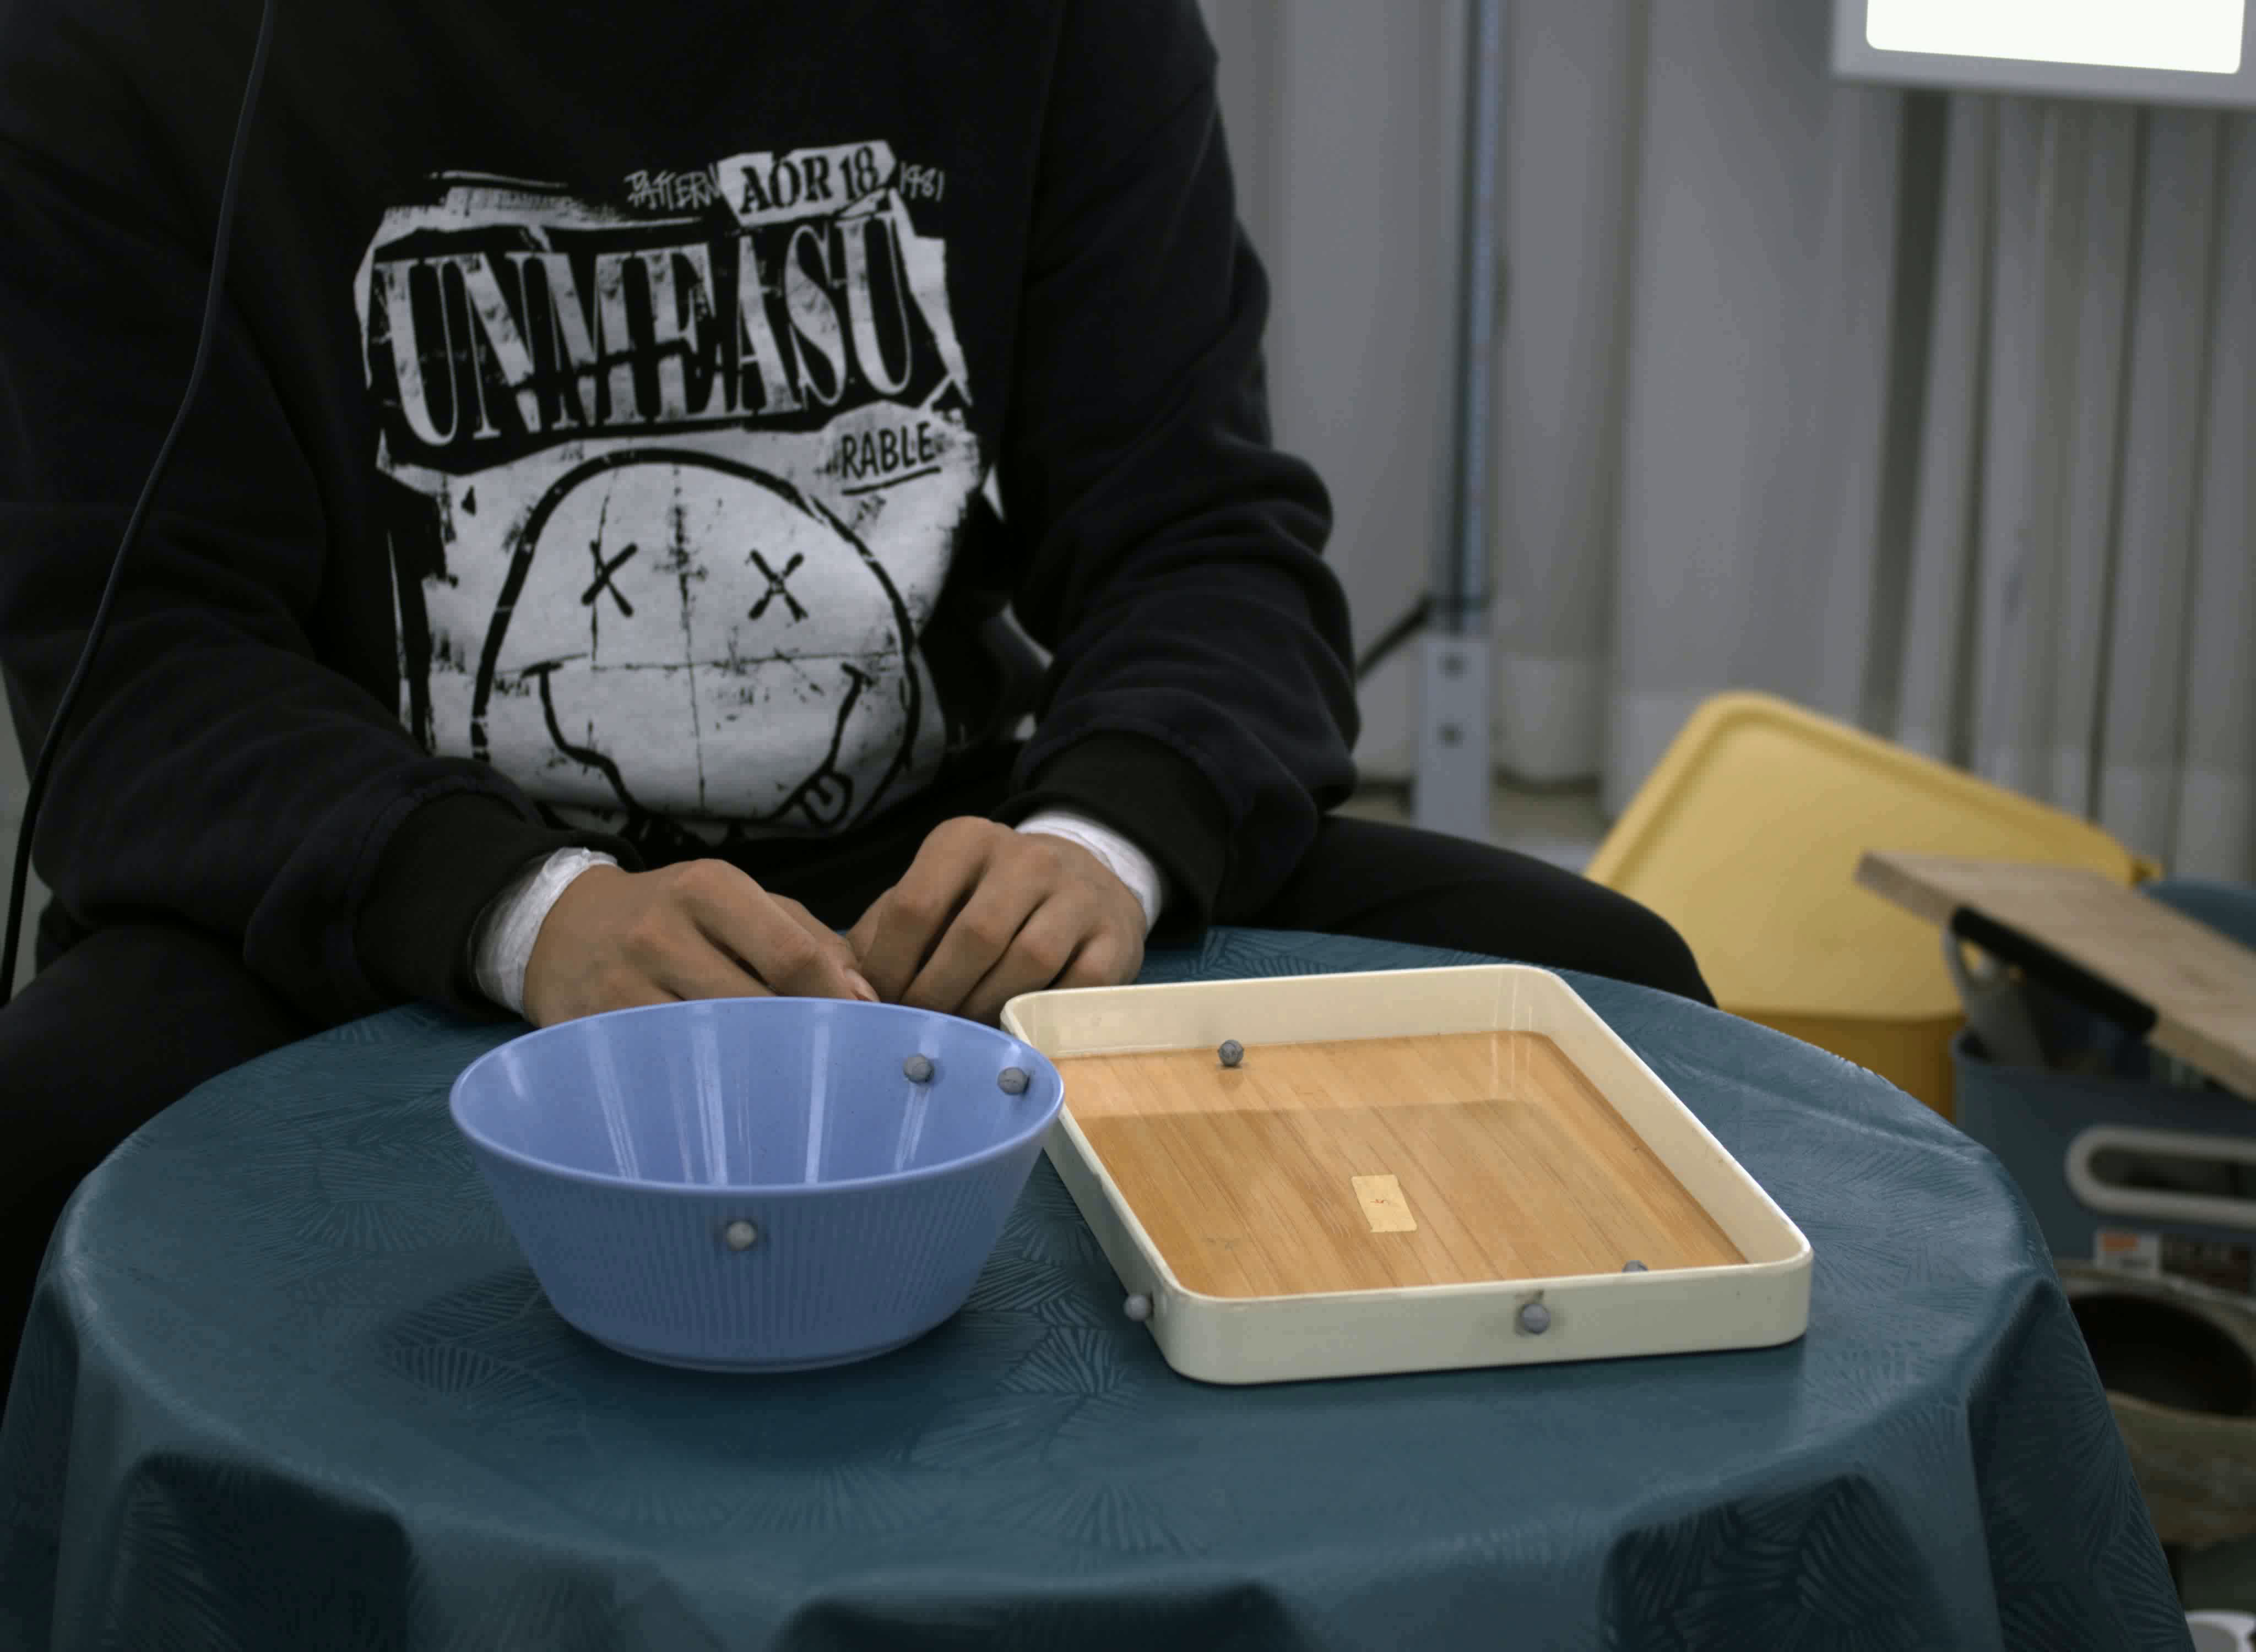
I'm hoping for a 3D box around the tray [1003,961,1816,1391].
[{"bbox_3d":[0.078,0.102,1.618,0.191,0.027,0.297,-3,17,-11],"label":"tray"}]

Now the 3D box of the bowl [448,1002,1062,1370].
[{"bbox_3d":[-0.107,0.106,1.514,0.175,0.071,0.175,2,16,0],"label":"bowl"}]
